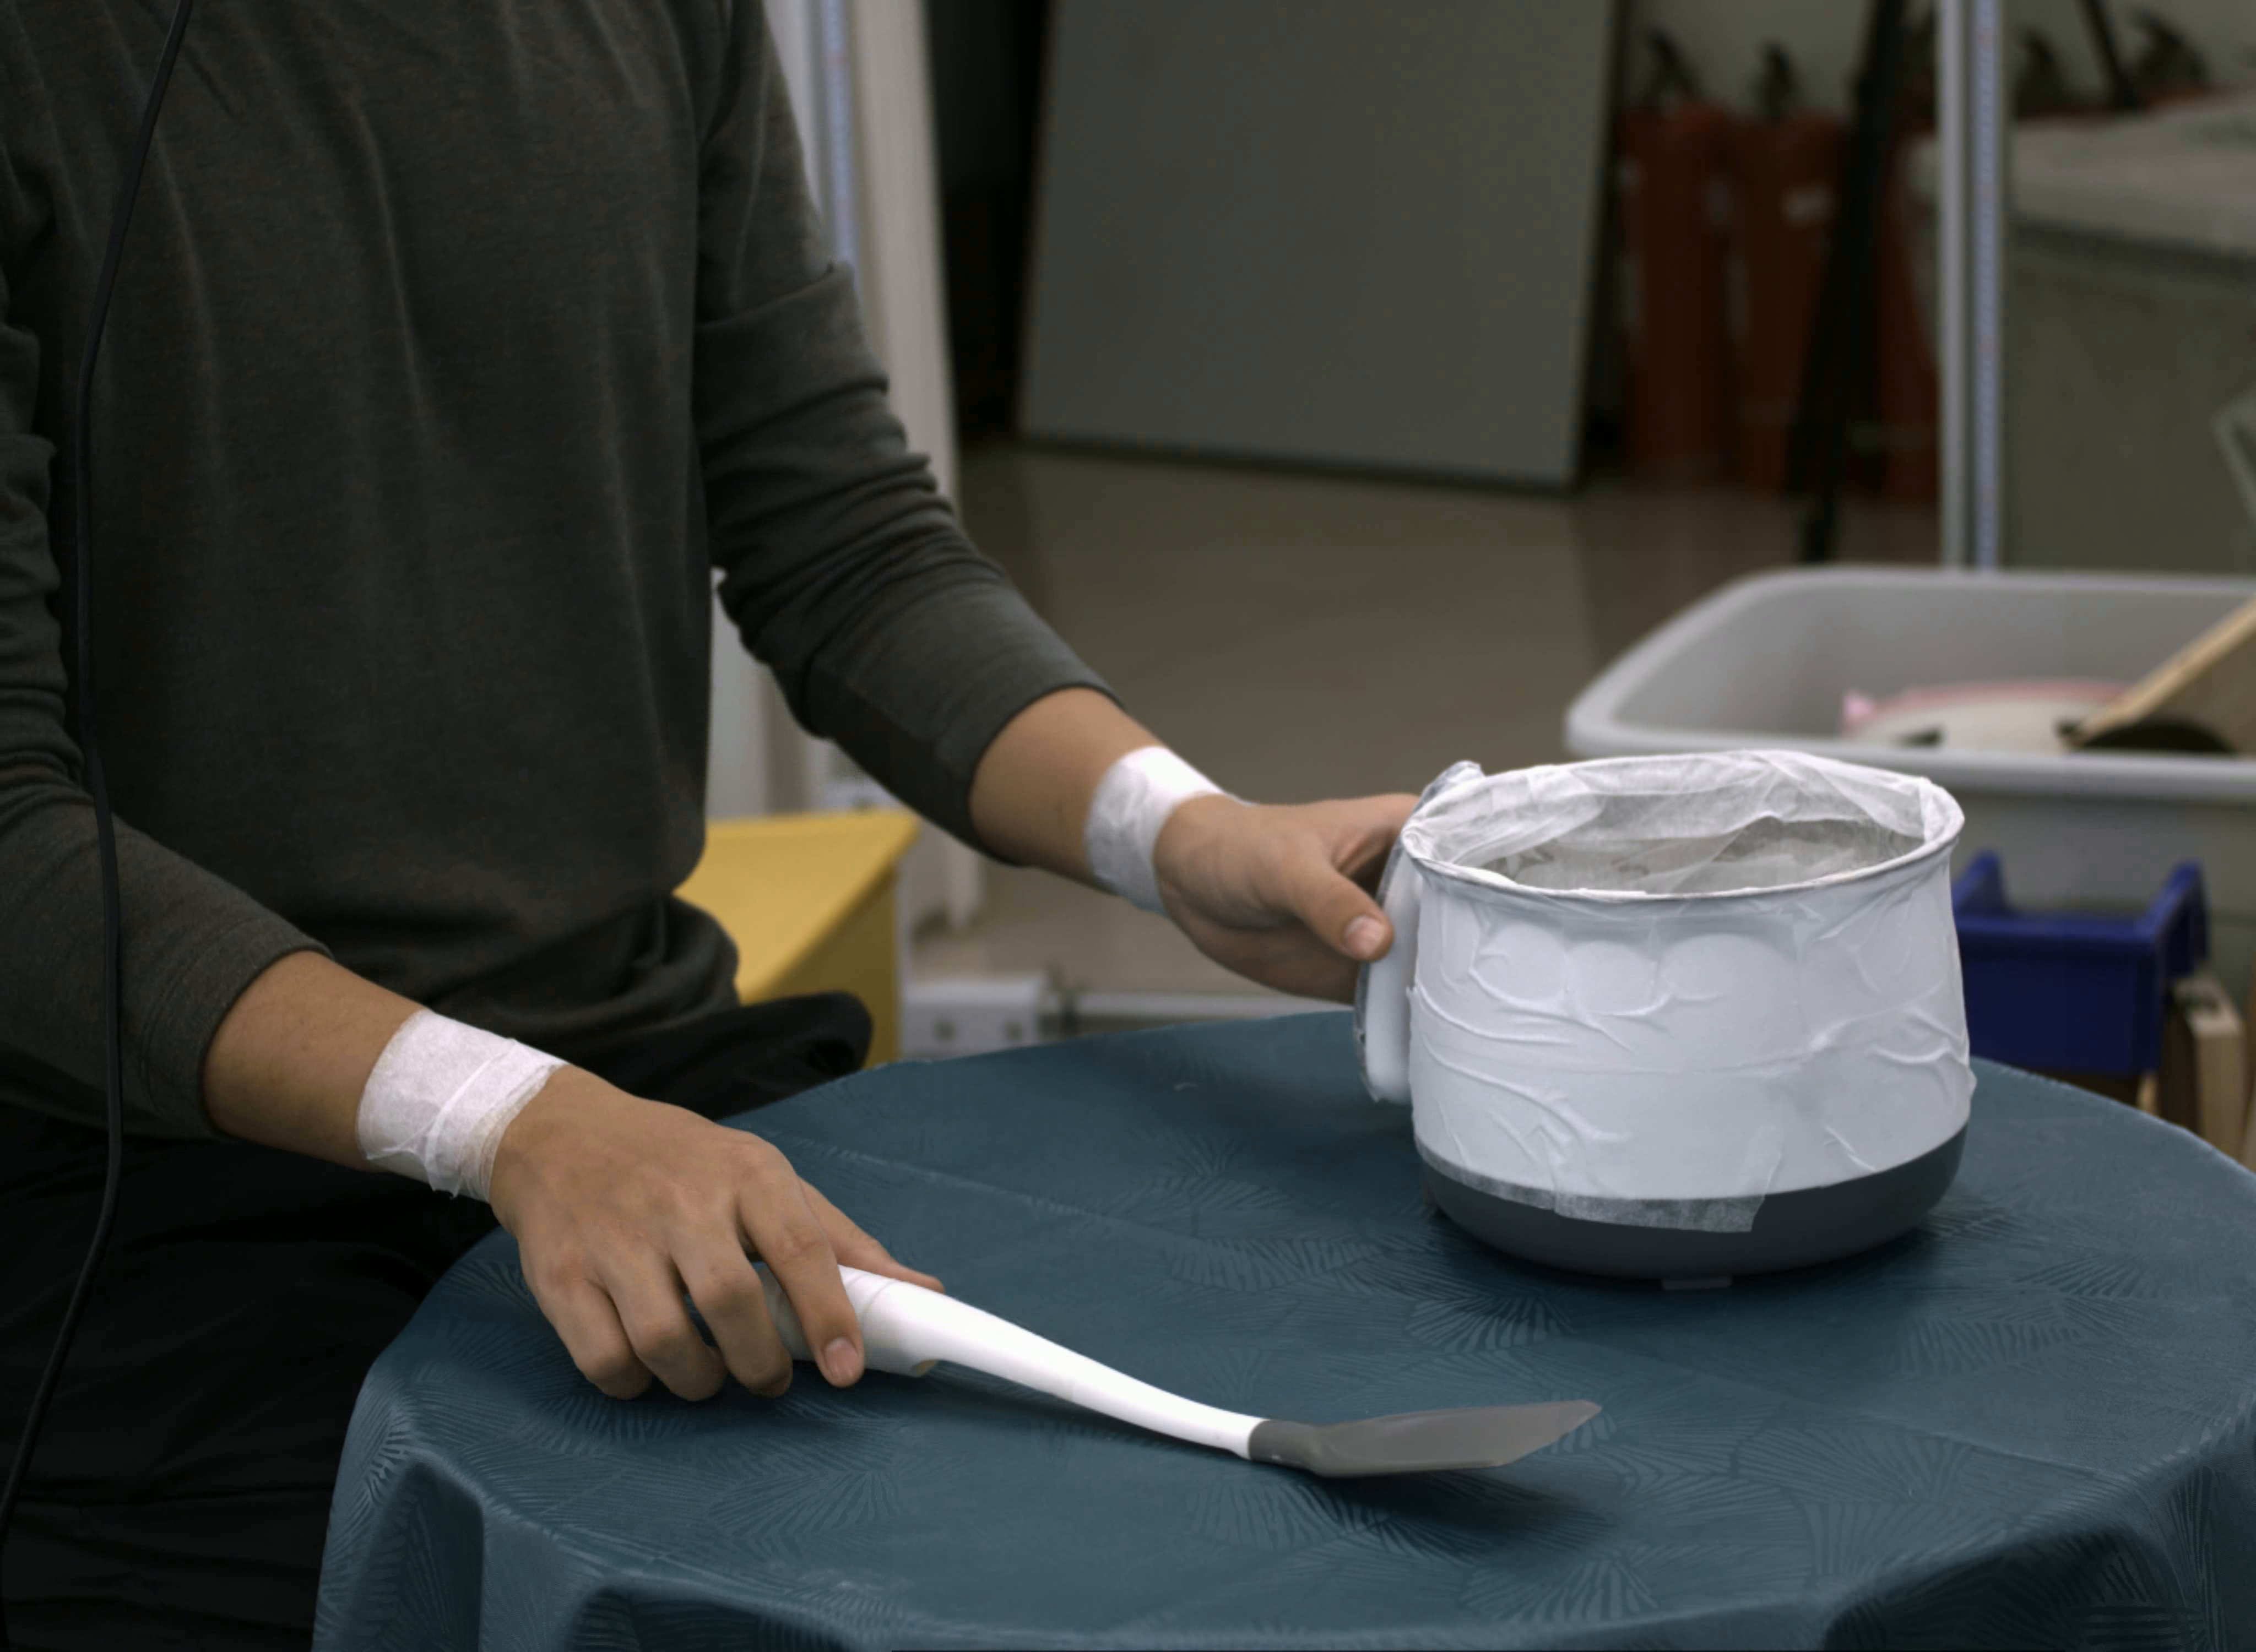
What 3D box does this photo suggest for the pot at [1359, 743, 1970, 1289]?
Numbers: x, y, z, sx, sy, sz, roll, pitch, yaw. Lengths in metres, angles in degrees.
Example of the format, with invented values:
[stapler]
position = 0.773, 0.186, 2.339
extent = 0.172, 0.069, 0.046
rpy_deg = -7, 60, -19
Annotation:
[pot]
position = 0.158, 0.054, 1.712
extent = 0.175, 0.138, 0.236
rpy_deg = -14, 17, -38

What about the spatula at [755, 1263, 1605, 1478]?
[spatula]
position = 0.009, 0.160, 1.543
extent = 0.290, 0.032, 0.057
rpy_deg = 6, 14, 39
